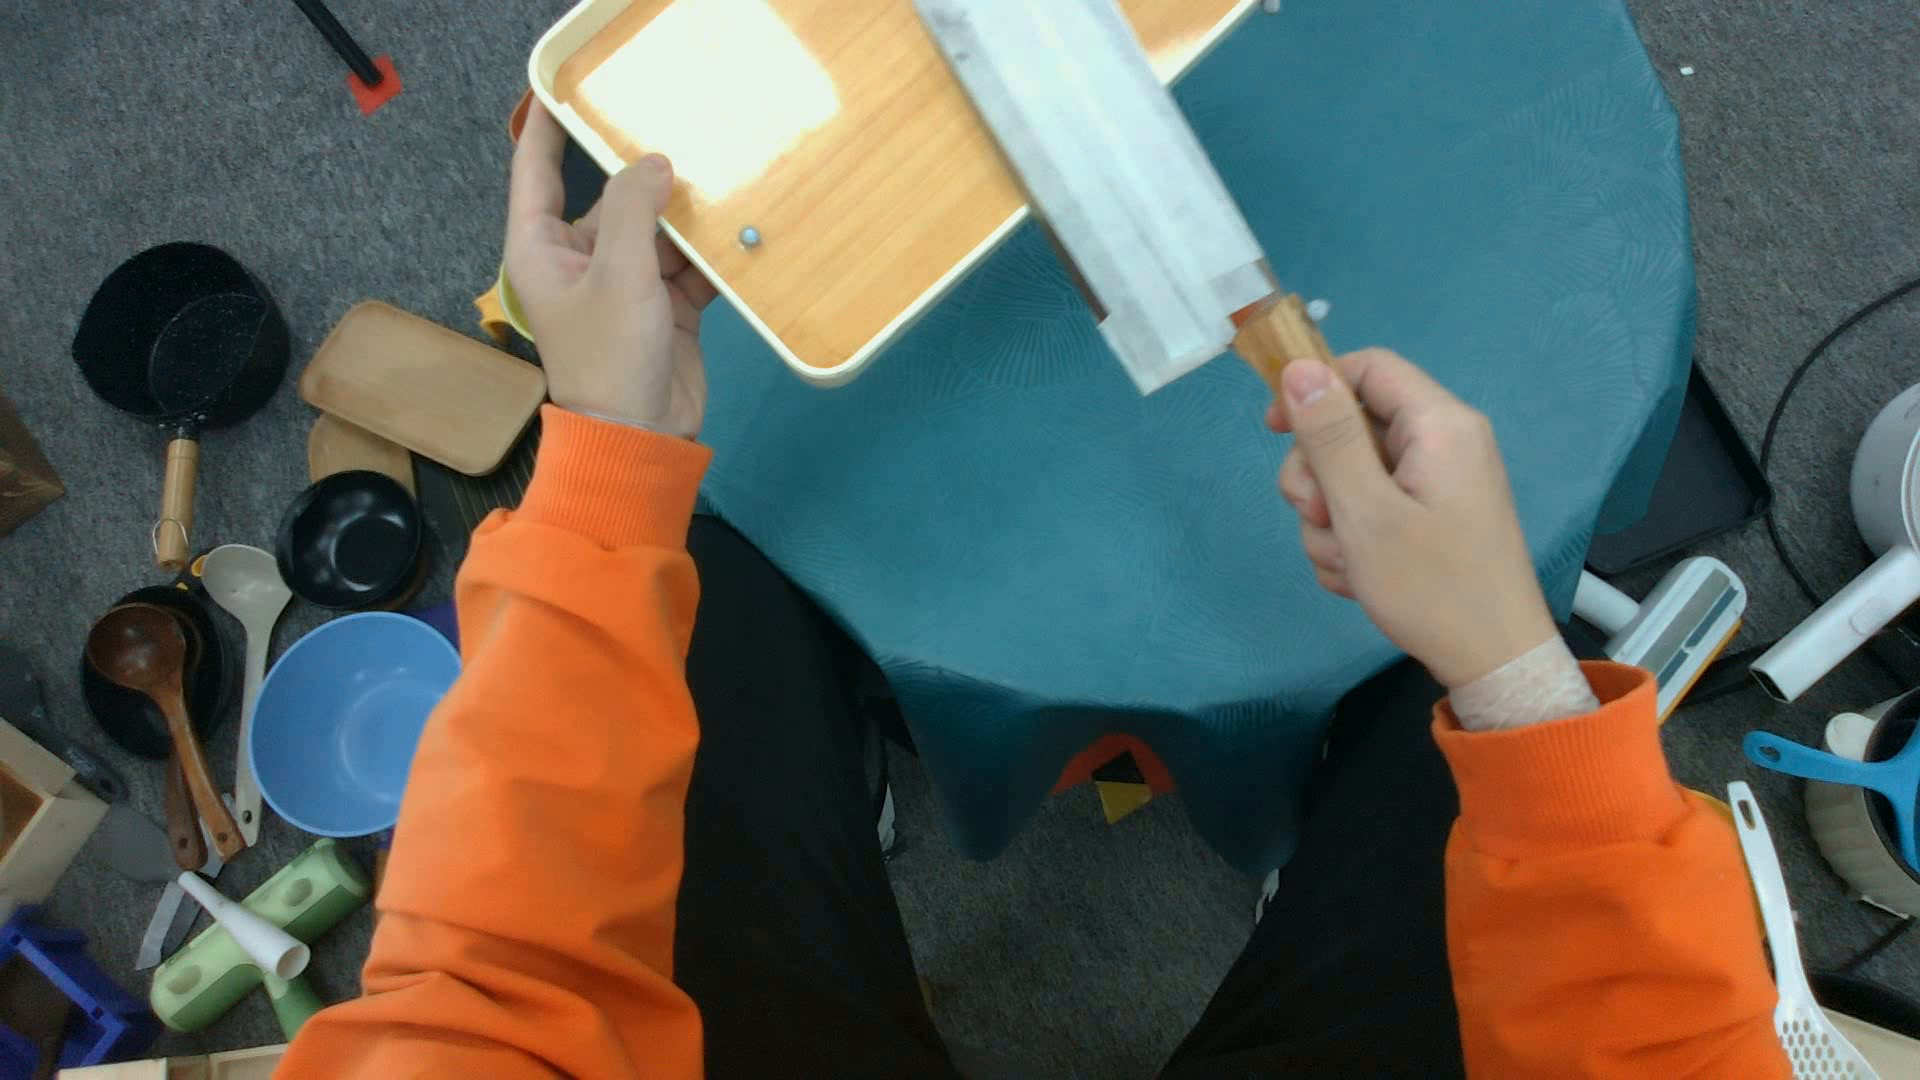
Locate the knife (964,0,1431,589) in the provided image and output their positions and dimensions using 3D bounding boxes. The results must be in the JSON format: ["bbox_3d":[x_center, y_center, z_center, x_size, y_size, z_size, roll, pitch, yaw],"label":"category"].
[{"bbox_3d":[0.083,-0.111,0.539,0.021,0.092,0.305,-31,94,-36],"label":"knife"}]

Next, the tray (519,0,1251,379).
[{"bbox_3d":[-0.019,-0.231,0.597,0.300,0.027,0.191,-43,86,-7],"label":"tray"}]
